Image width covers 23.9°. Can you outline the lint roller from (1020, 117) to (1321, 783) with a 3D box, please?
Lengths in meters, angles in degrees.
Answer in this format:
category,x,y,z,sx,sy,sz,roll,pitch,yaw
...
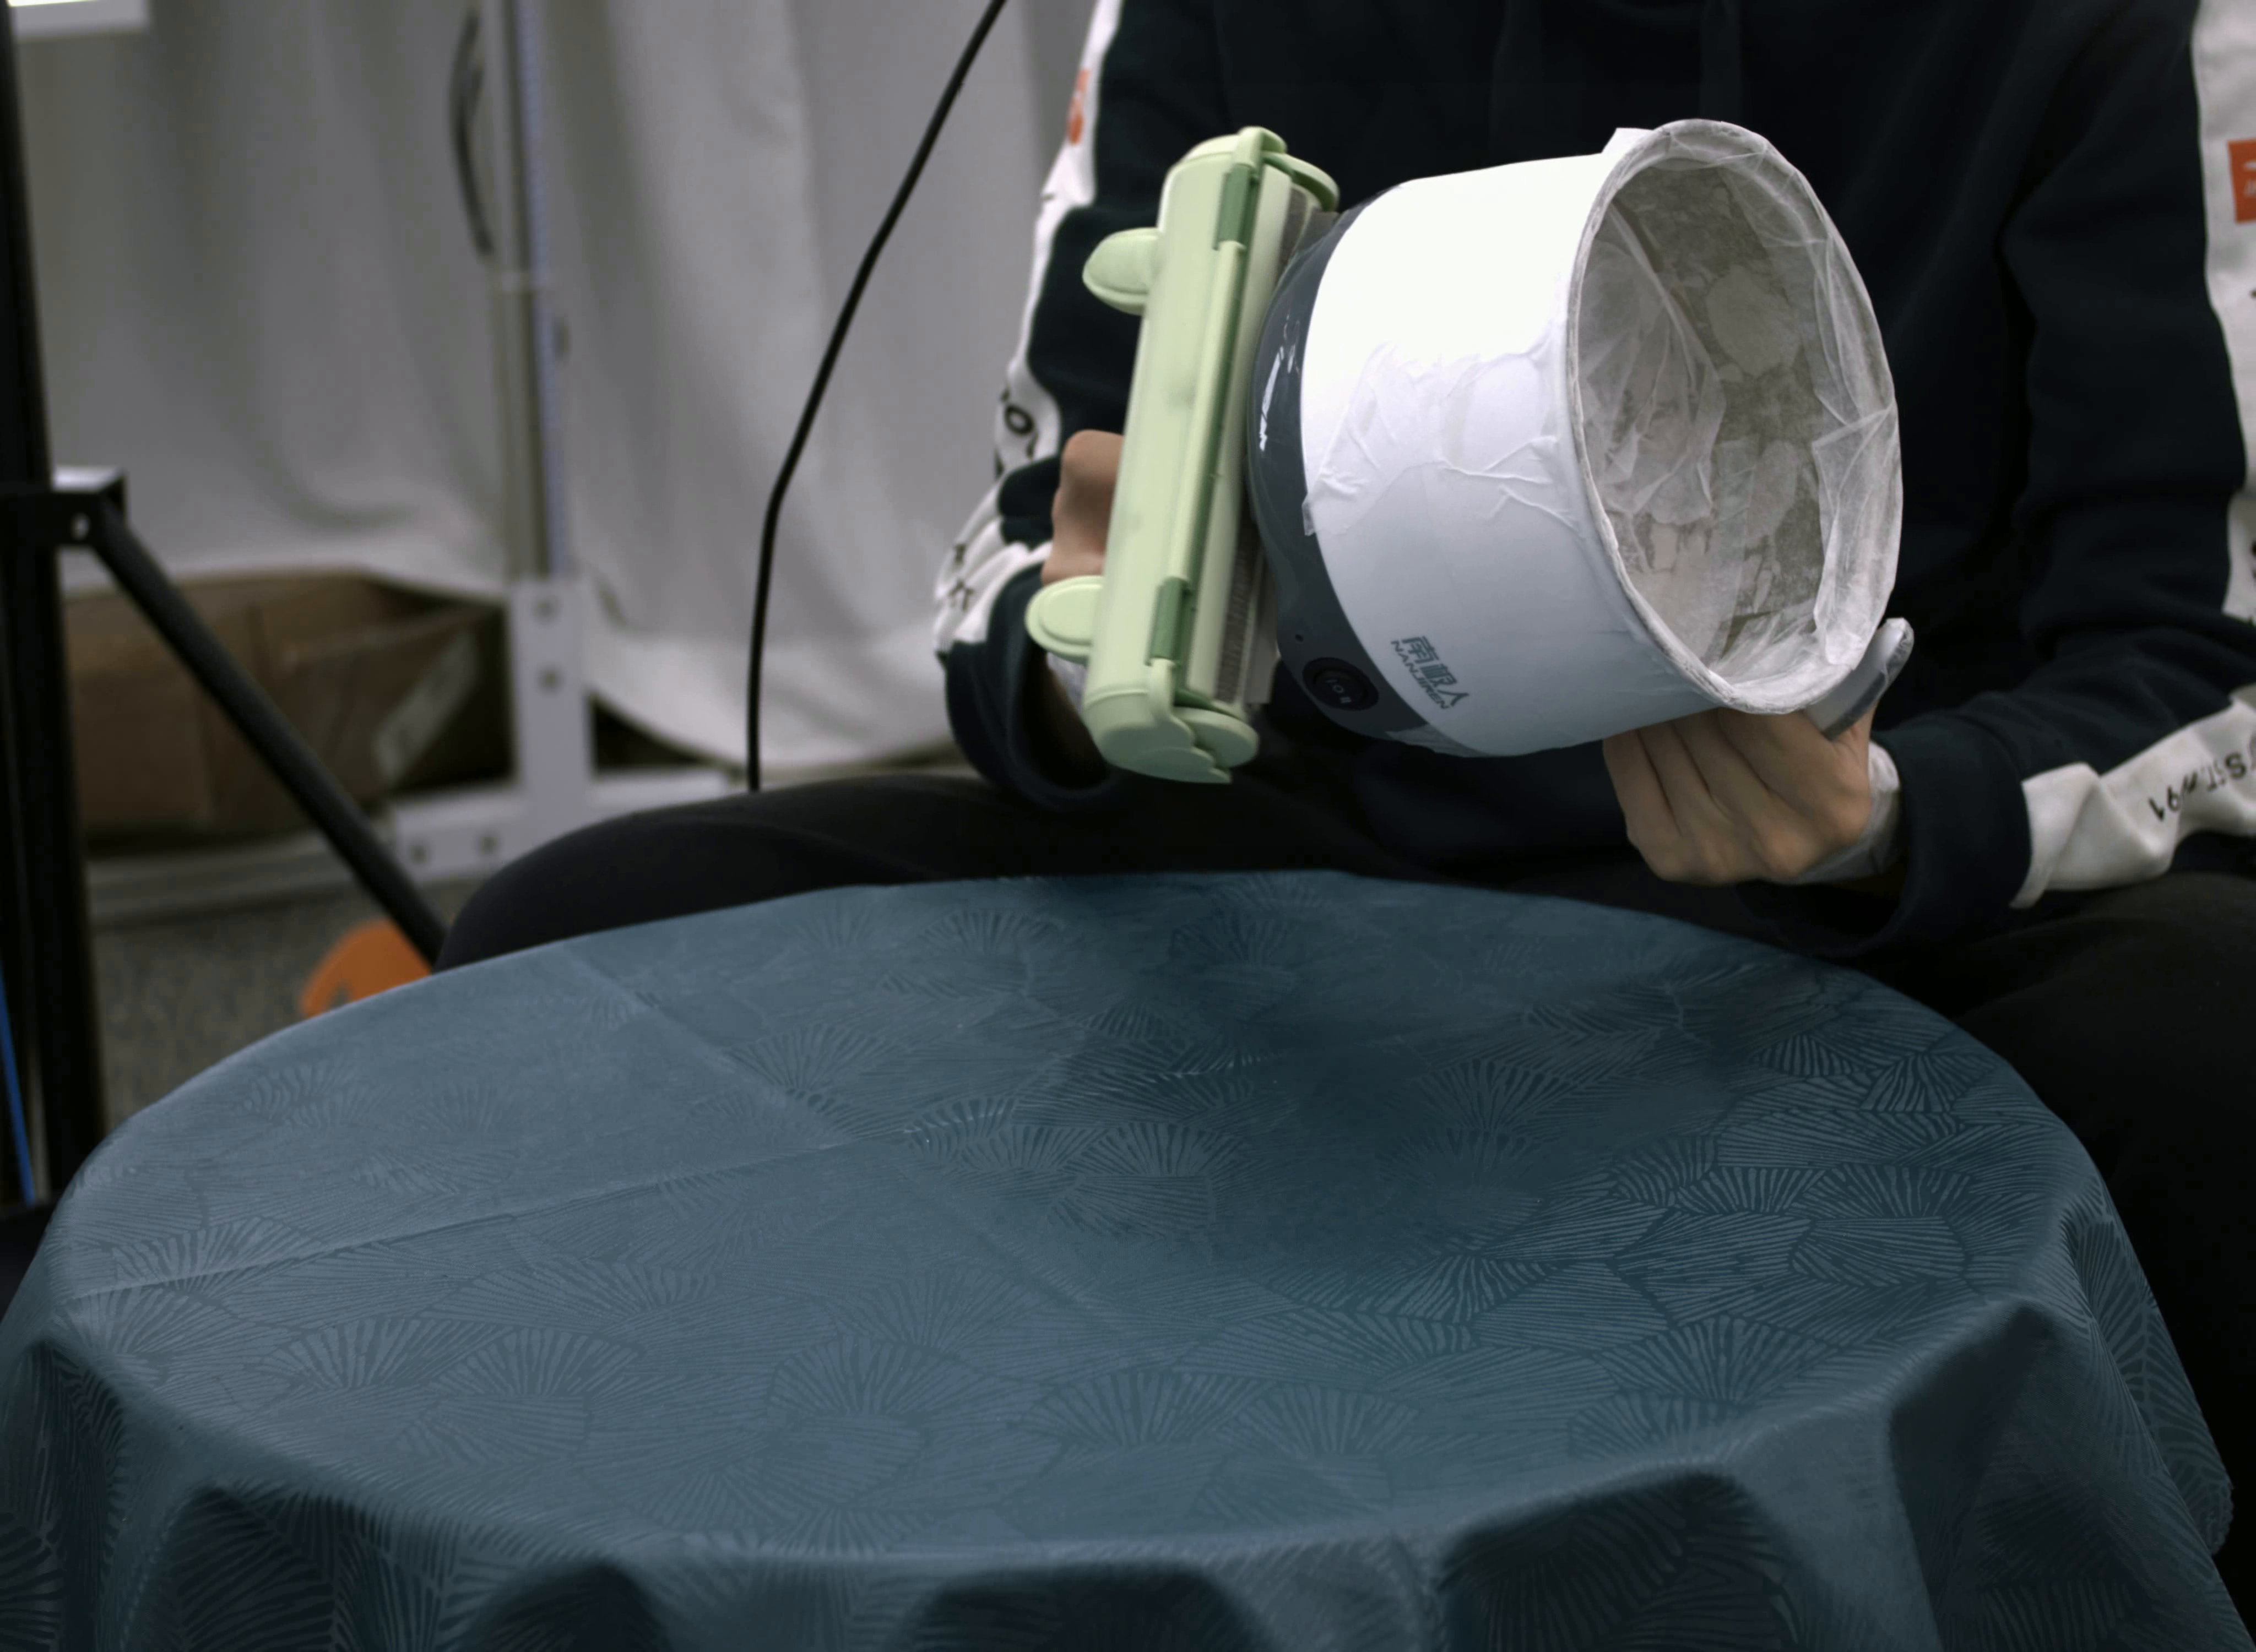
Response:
category,x,y,z,sx,sy,sz,roll,pitch,yaw
lint roller,0.005,-0.099,1.663,0.081,0.200,0.184,11,-18,-9

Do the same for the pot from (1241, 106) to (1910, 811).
category,x,y,z,sx,sy,sz,roll,pitch,yaw
pot,0.145,-0.095,1.603,0.139,0.229,0.179,-9,44,40
